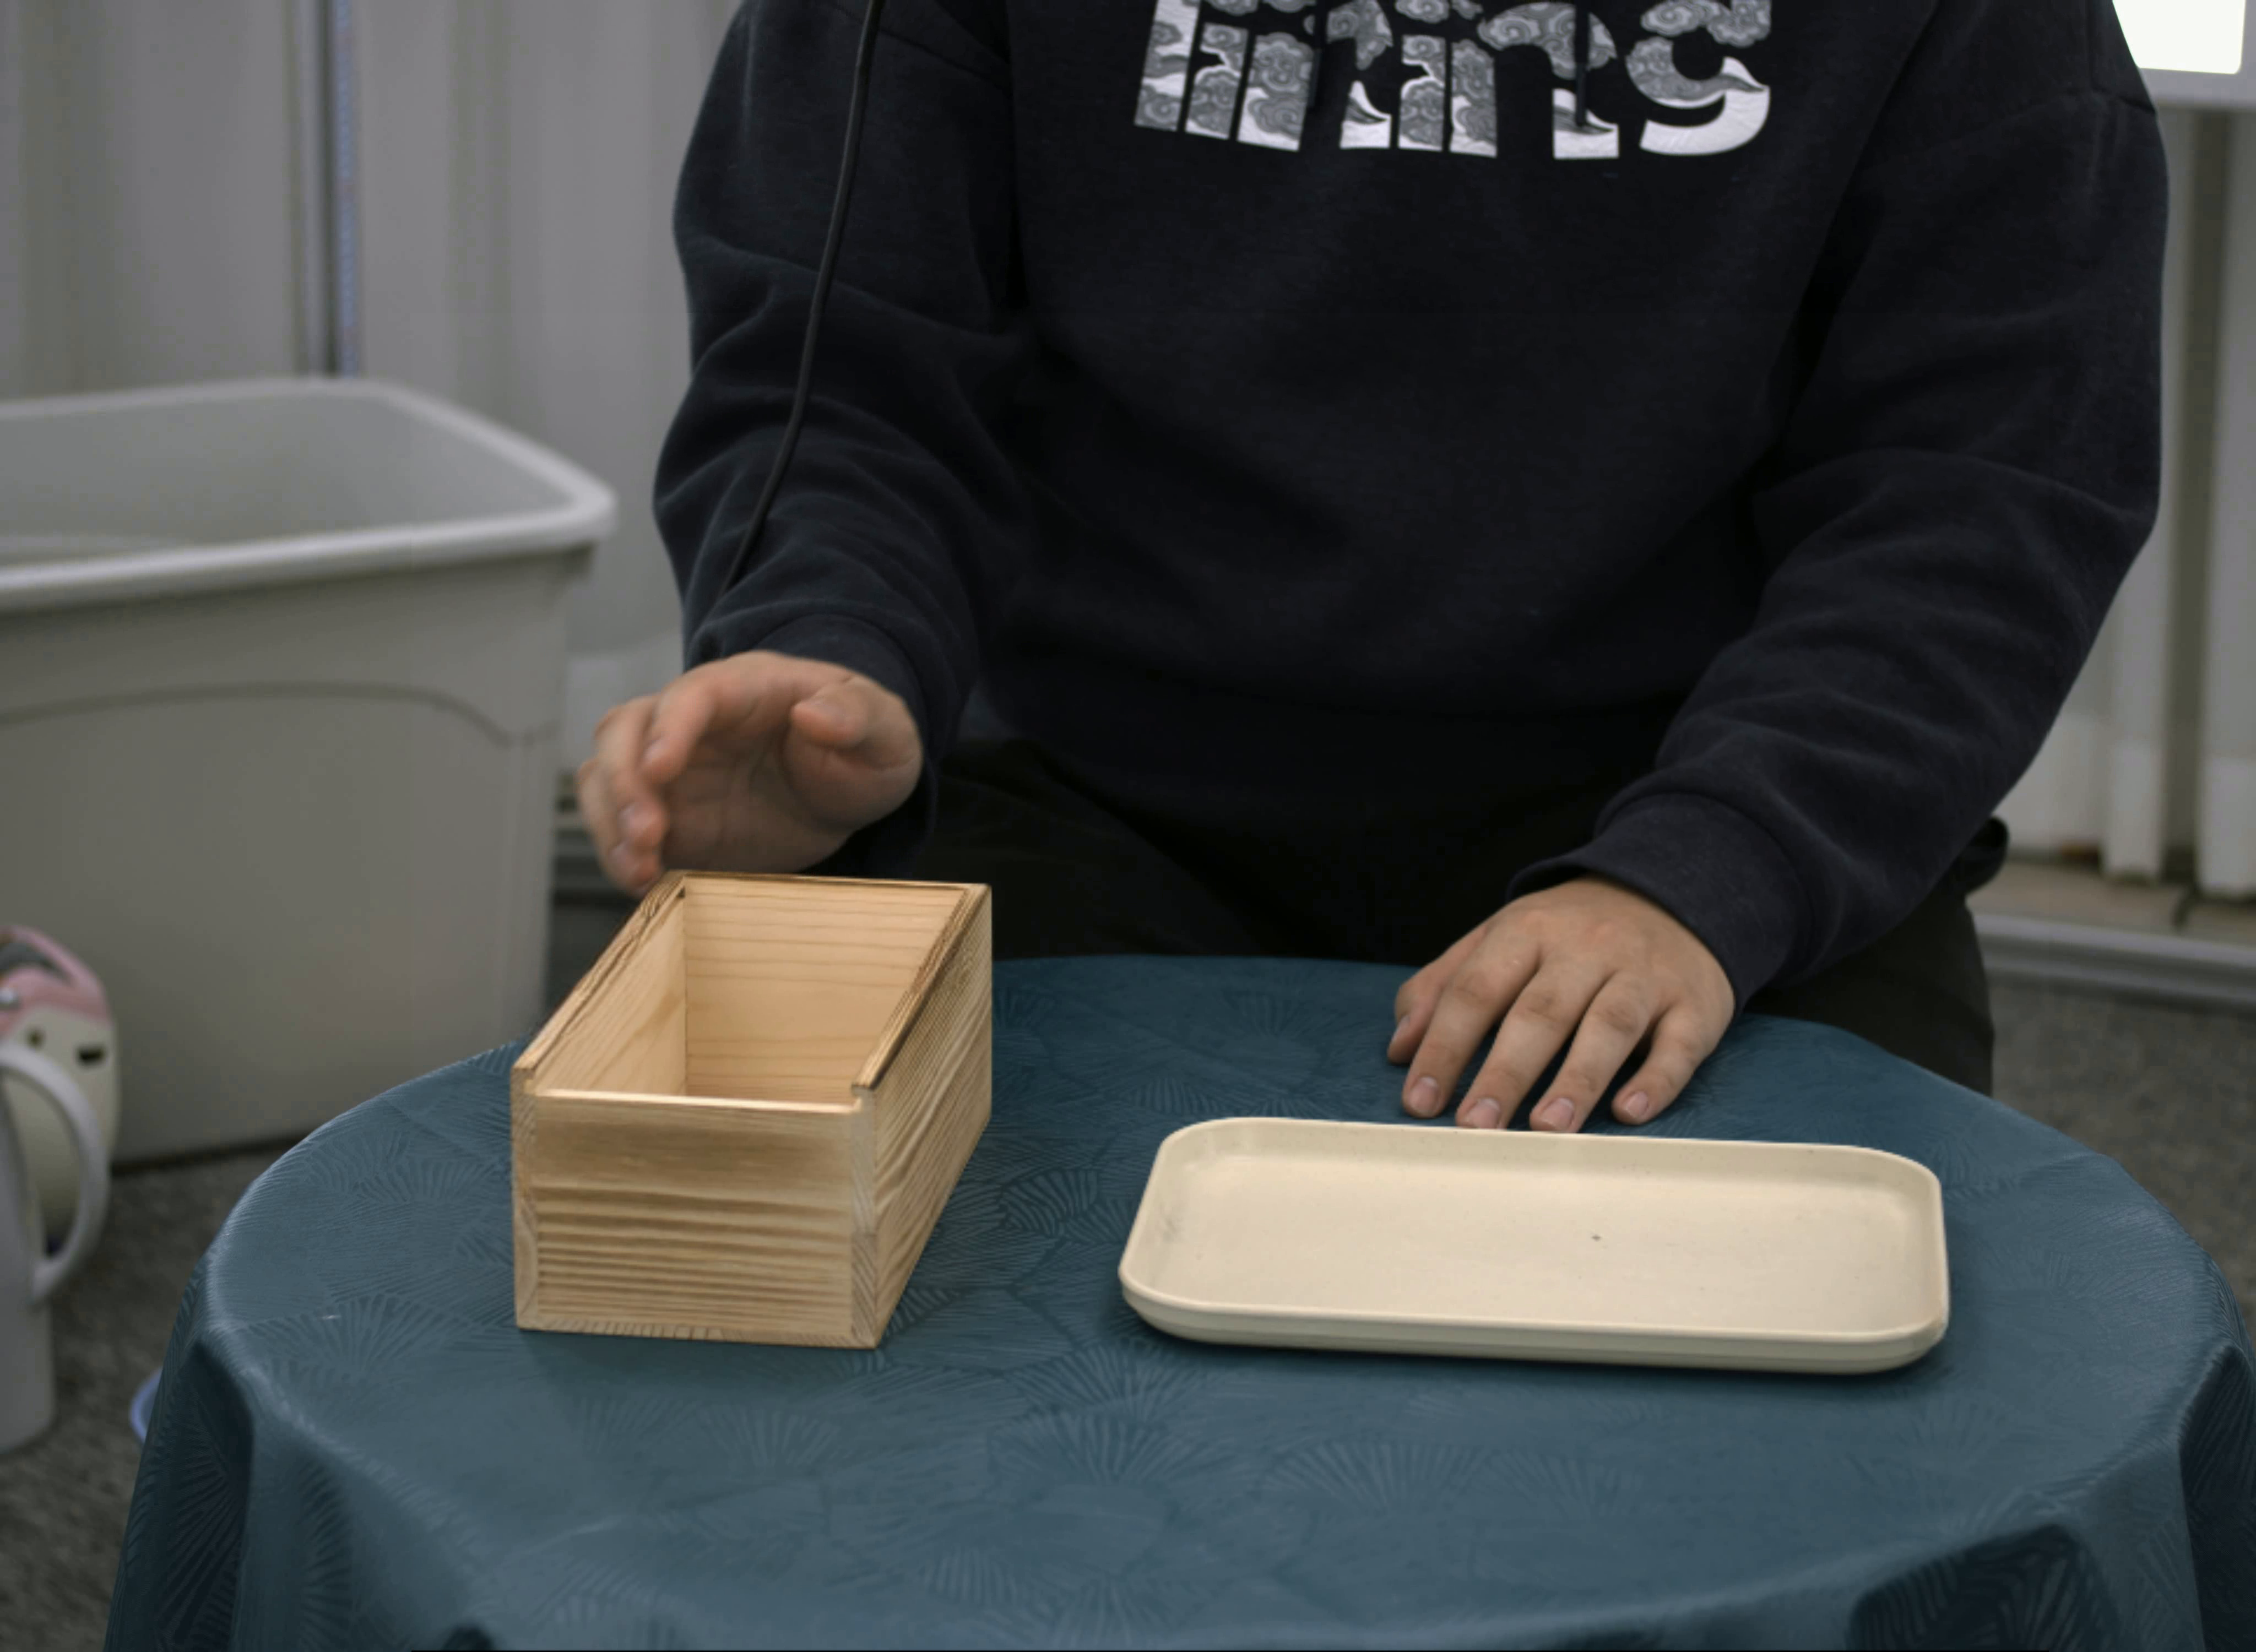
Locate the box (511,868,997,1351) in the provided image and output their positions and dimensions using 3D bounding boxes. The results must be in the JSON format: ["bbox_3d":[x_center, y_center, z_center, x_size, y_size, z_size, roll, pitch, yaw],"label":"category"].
[{"bbox_3d":[-0.108,0.081,1.585,0.107,0.081,0.211,3,16,7],"label":"box"}]

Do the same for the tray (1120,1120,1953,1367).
[{"bbox_3d":[0.122,0.123,1.559,0.238,0.017,0.171,2,15,5],"label":"tray"}]
